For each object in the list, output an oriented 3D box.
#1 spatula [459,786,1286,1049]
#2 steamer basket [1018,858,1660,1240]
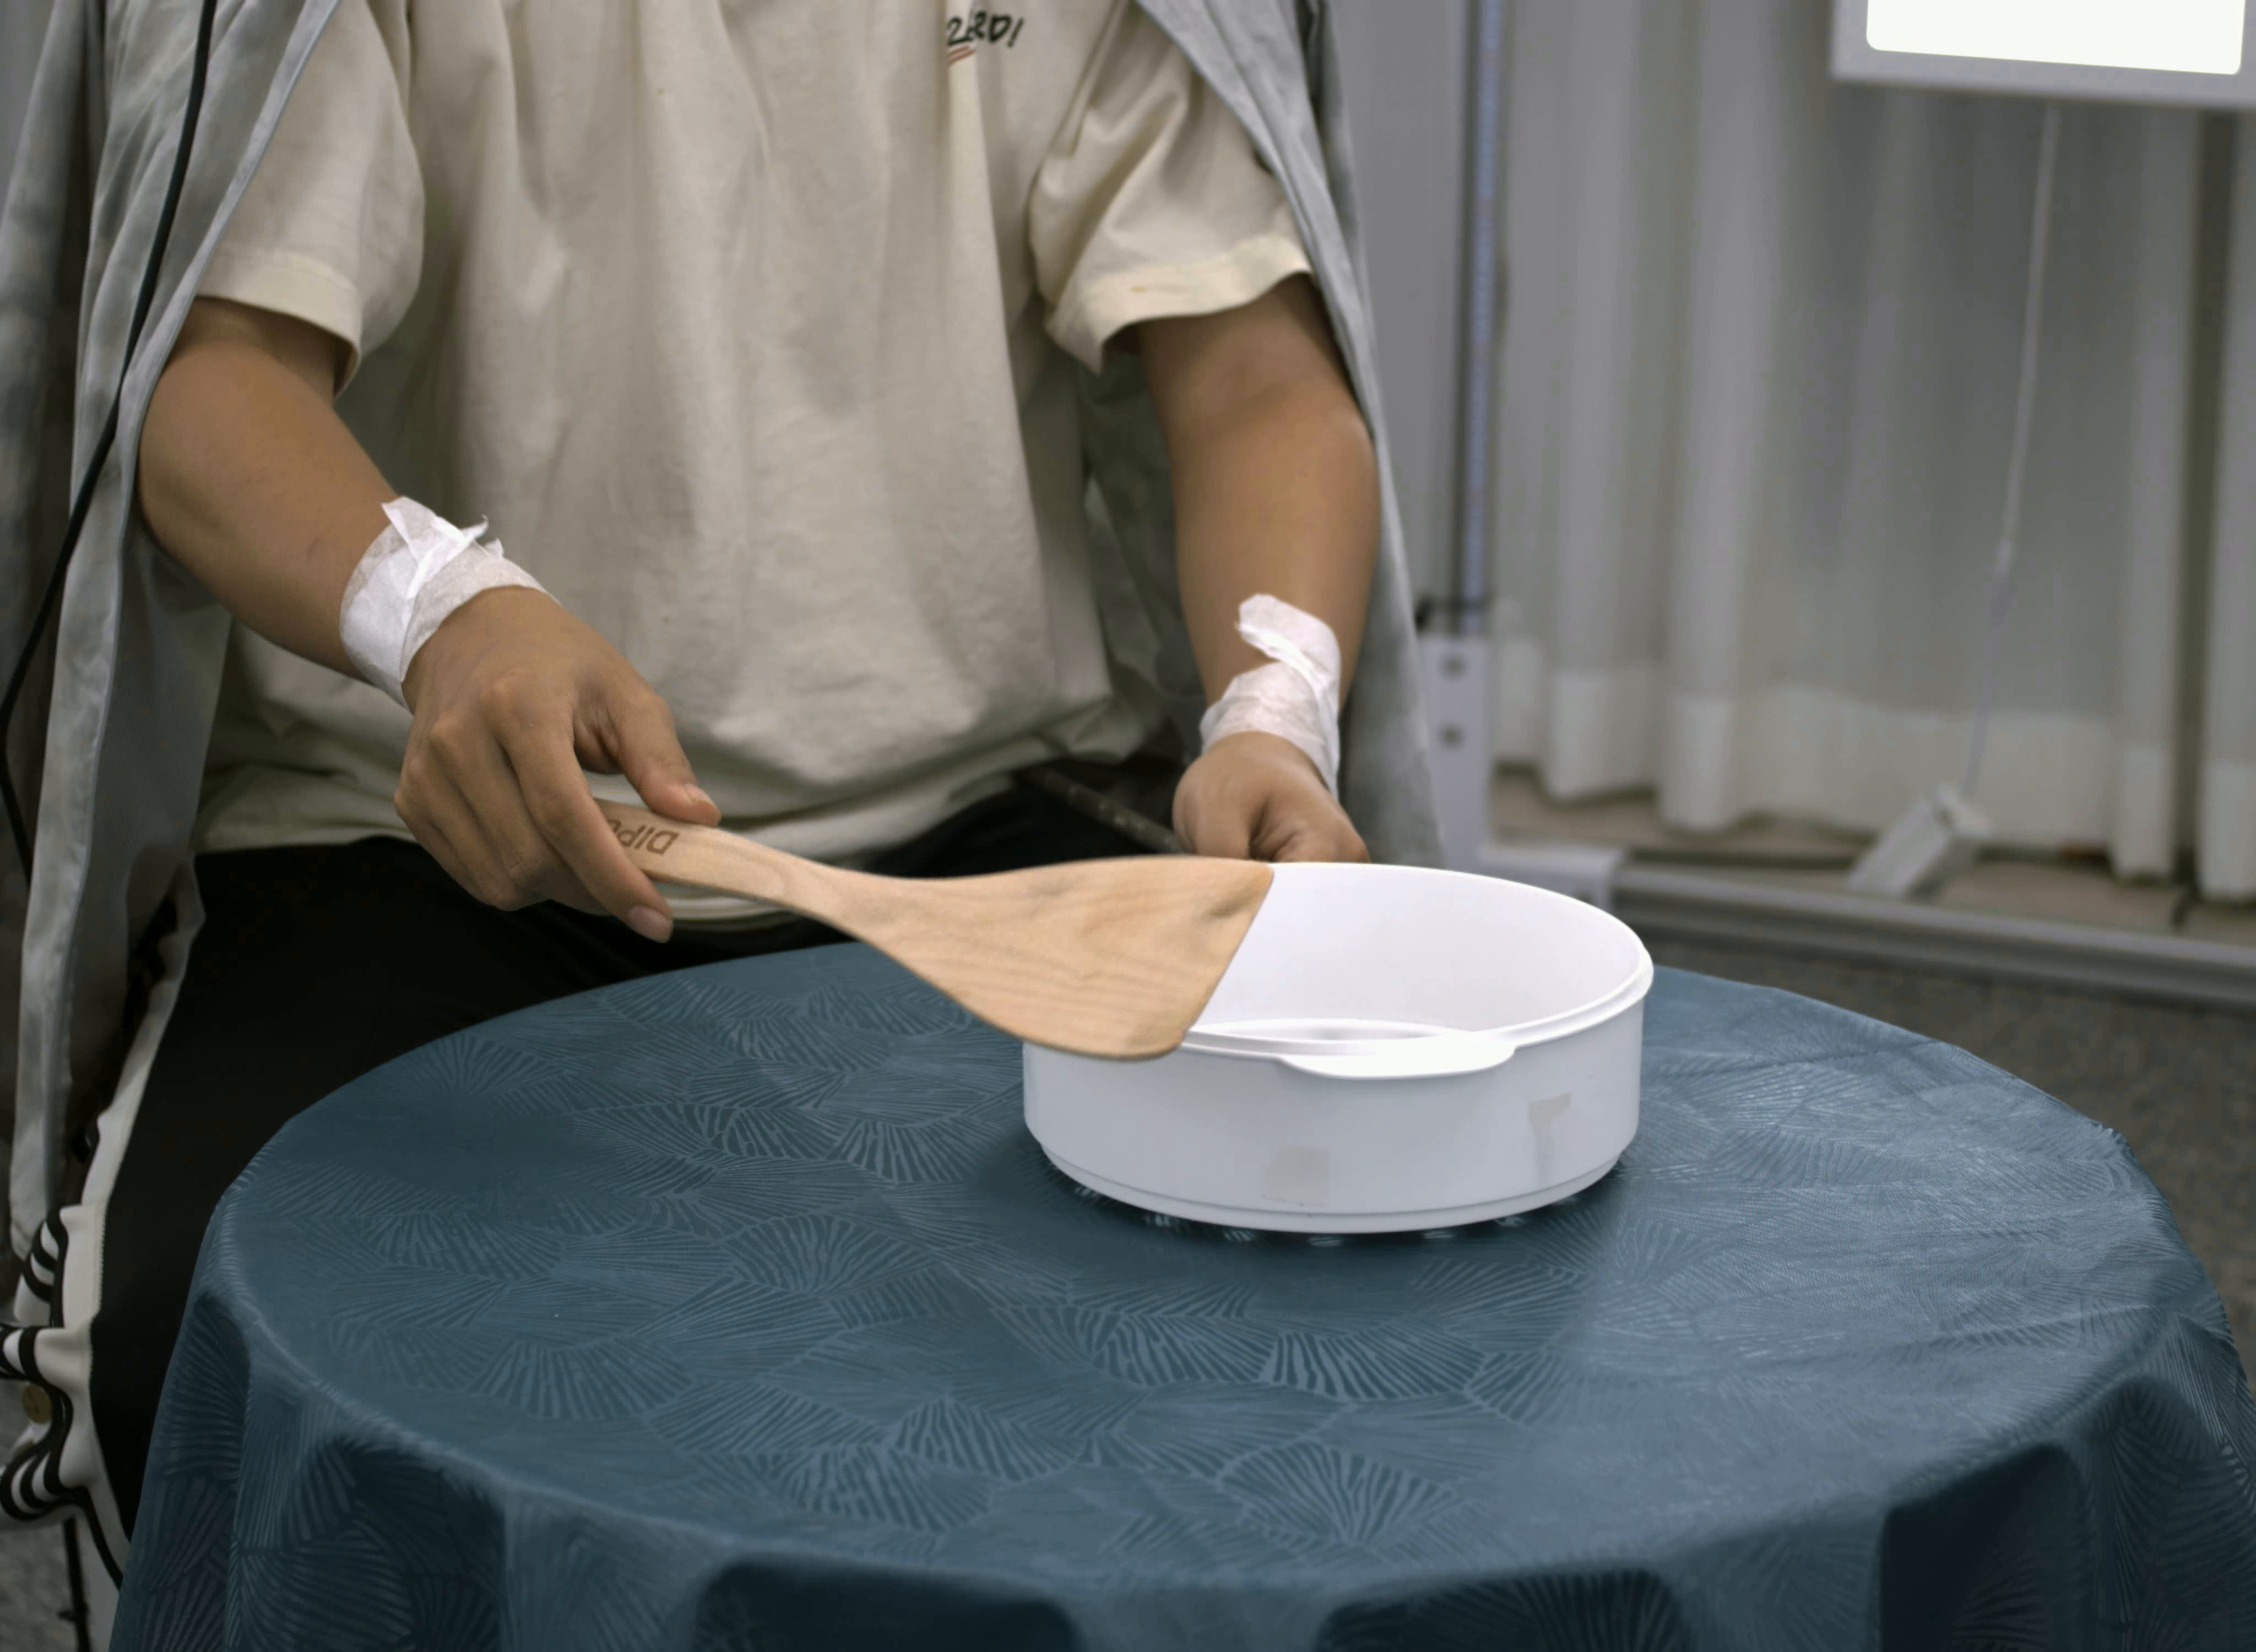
[{"bbox_3d":[-0.086,0.015,1.583,0.323,0.017,0.080,10,54,38],"label":"spatula"},{"bbox_3d":[0.064,0.069,1.651,0.202,0.070,0.228,0,17,-10],"label":"steamer basket"}]
